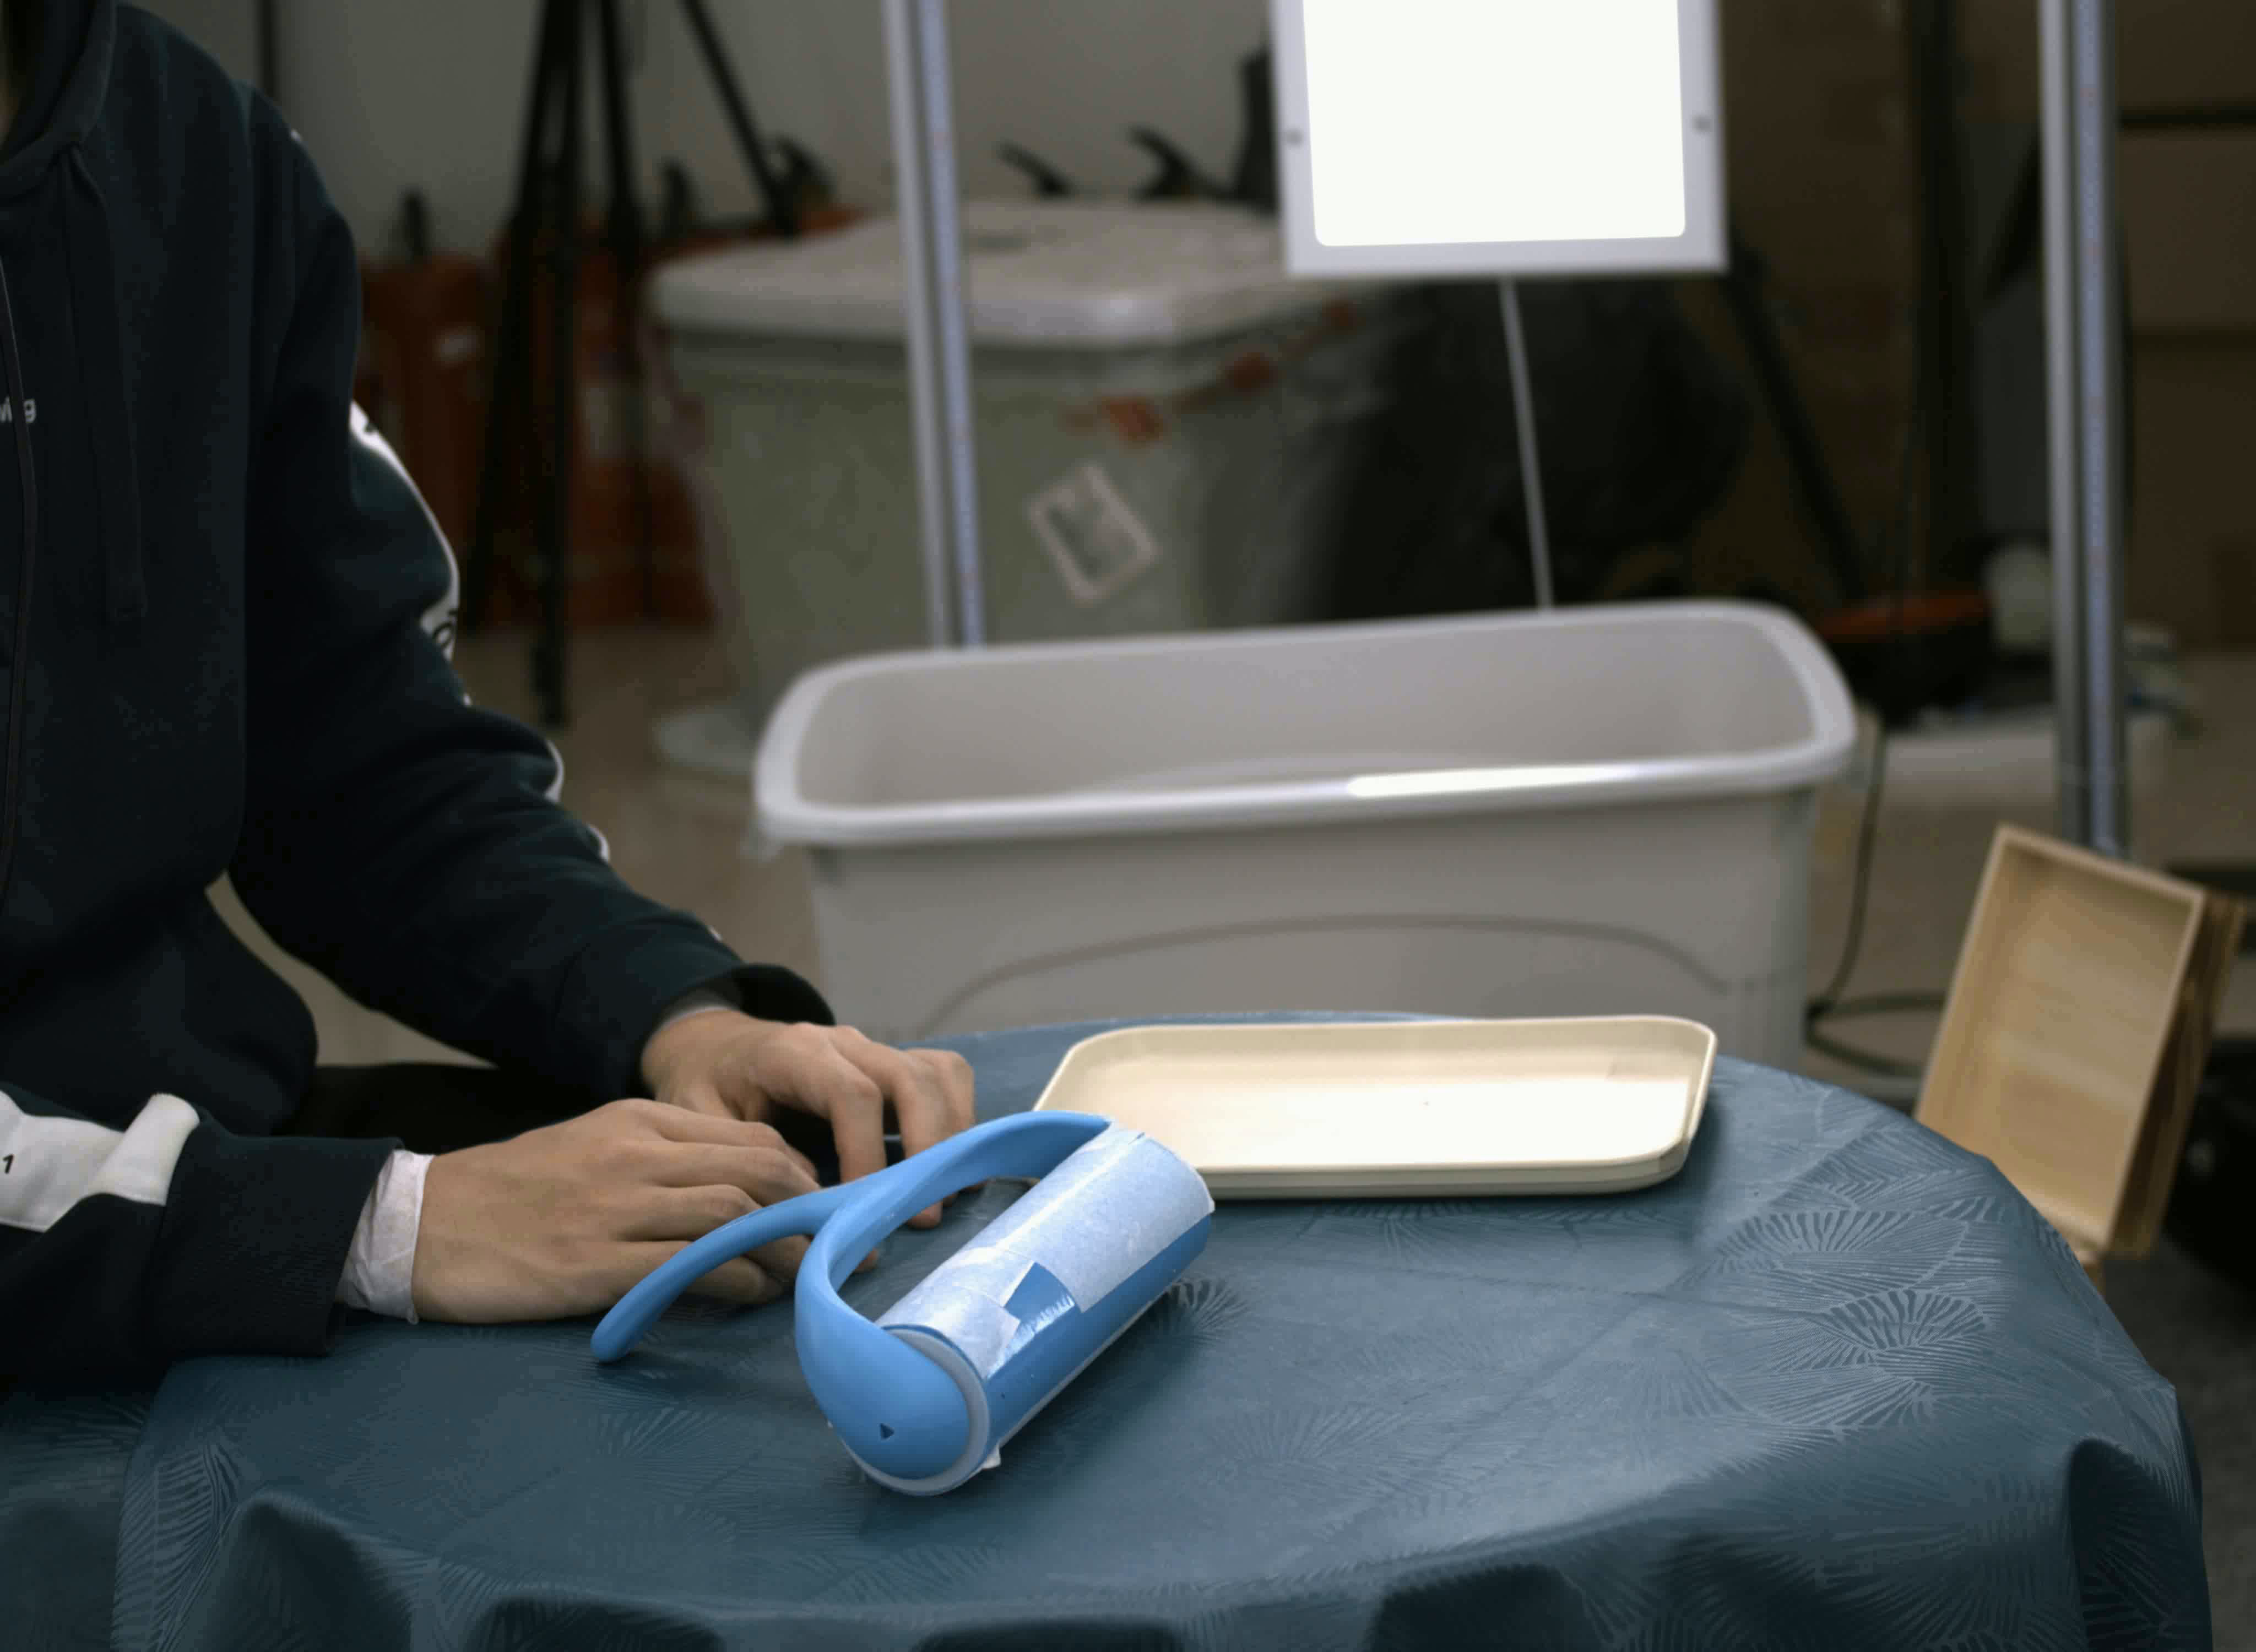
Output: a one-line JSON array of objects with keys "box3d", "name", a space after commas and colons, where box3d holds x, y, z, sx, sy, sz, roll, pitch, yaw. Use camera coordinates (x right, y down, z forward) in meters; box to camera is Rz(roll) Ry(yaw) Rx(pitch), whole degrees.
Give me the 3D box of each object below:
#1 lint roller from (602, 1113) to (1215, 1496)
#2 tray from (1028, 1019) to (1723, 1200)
[{"box3d": [-0.085, 0.146, 1.726, 0.182, 0.068, 0.225, 1, 16, 19], "name": "lint roller"}, {"box3d": [0.087, 0.101, 1.931, 0.241, 0.017, 0.169, -2, 13, 13], "name": "tray"}]
